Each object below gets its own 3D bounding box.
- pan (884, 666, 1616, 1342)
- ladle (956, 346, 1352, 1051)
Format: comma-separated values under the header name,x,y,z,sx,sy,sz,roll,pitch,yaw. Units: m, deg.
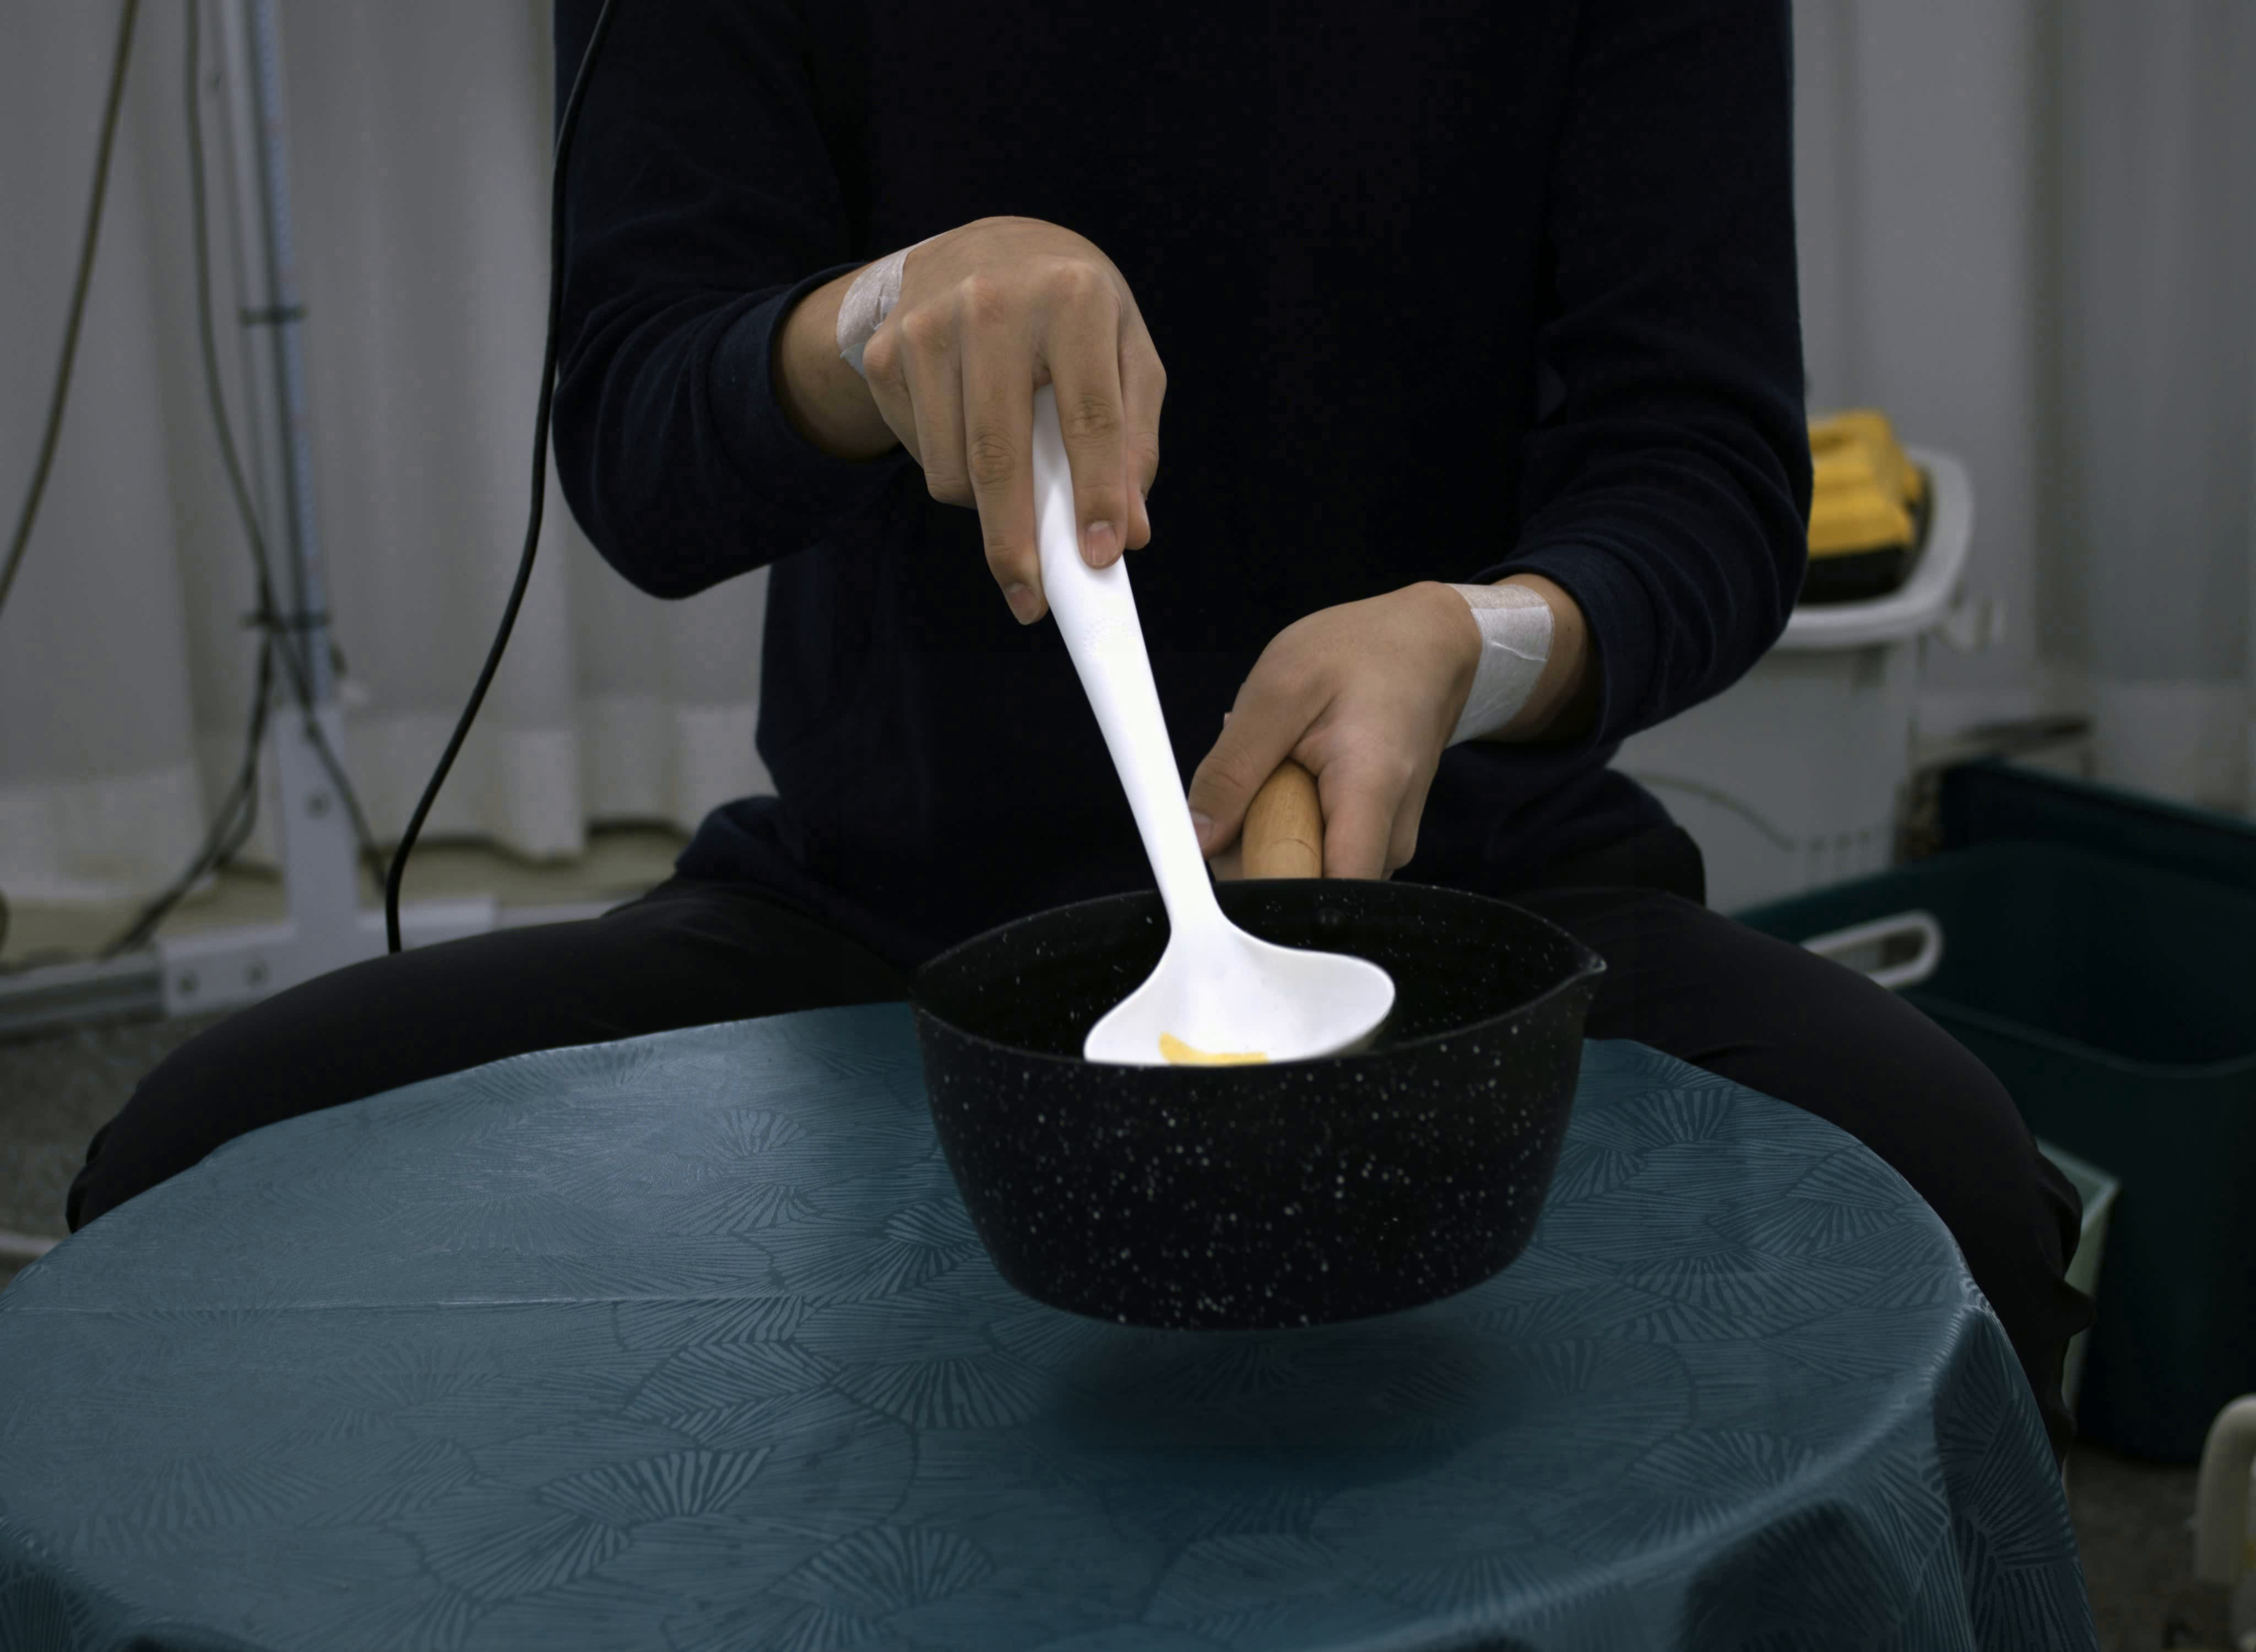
name,x,y,z,sx,sy,sz,roll,pitch,yaw
pan,0.040,0.047,1.608,0.207,0.108,0.345,-3,16,5
ladle,-0.006,-0.031,1.611,0.090,0.069,0.297,-19,58,3
